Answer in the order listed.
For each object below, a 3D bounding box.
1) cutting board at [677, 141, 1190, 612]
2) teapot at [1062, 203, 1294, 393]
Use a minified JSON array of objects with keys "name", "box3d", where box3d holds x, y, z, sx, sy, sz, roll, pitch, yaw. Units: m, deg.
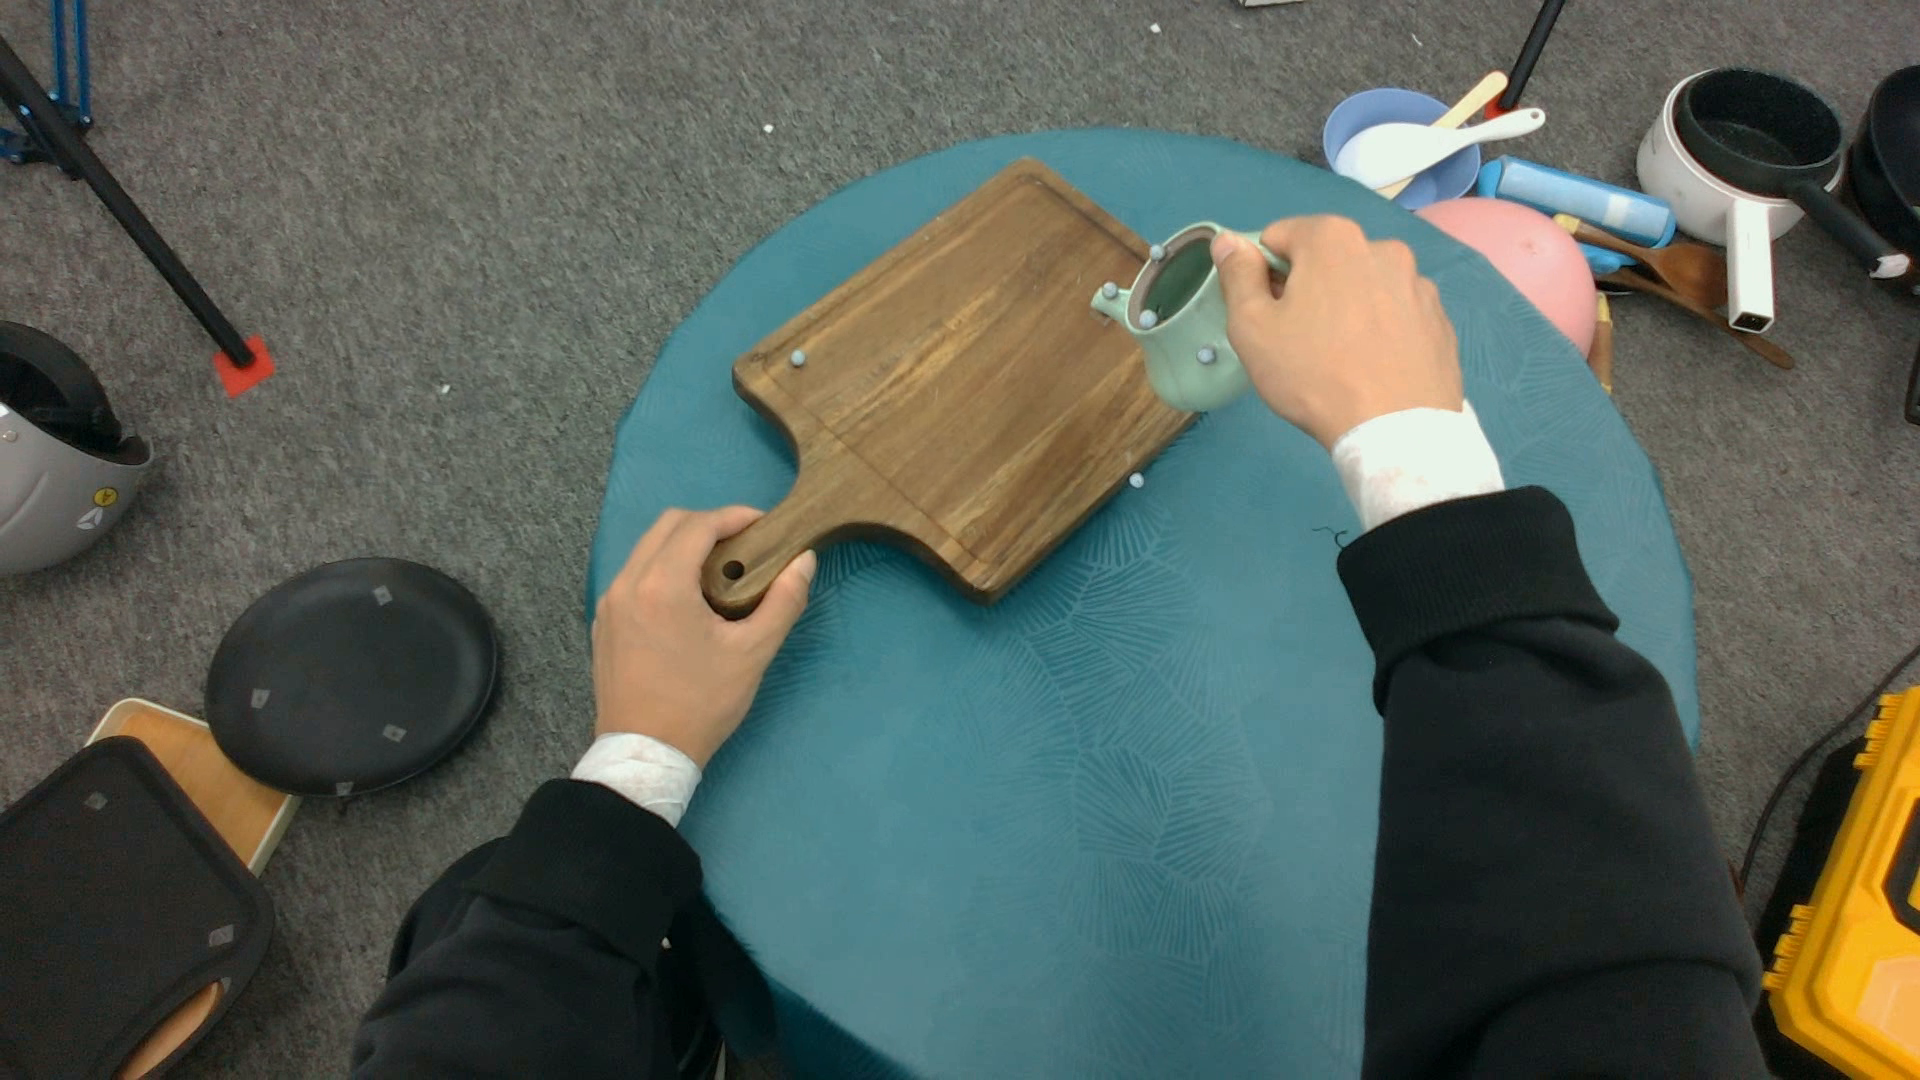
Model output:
[{"name":"cutting board","box3d":[-0.019,-0.081,0.754,0.201,0.023,0.353,40,62,15]},{"name":"teapot","box3d":[0.110,-0.120,0.652,0.061,0.136,0.096,32,72,-26]}]
